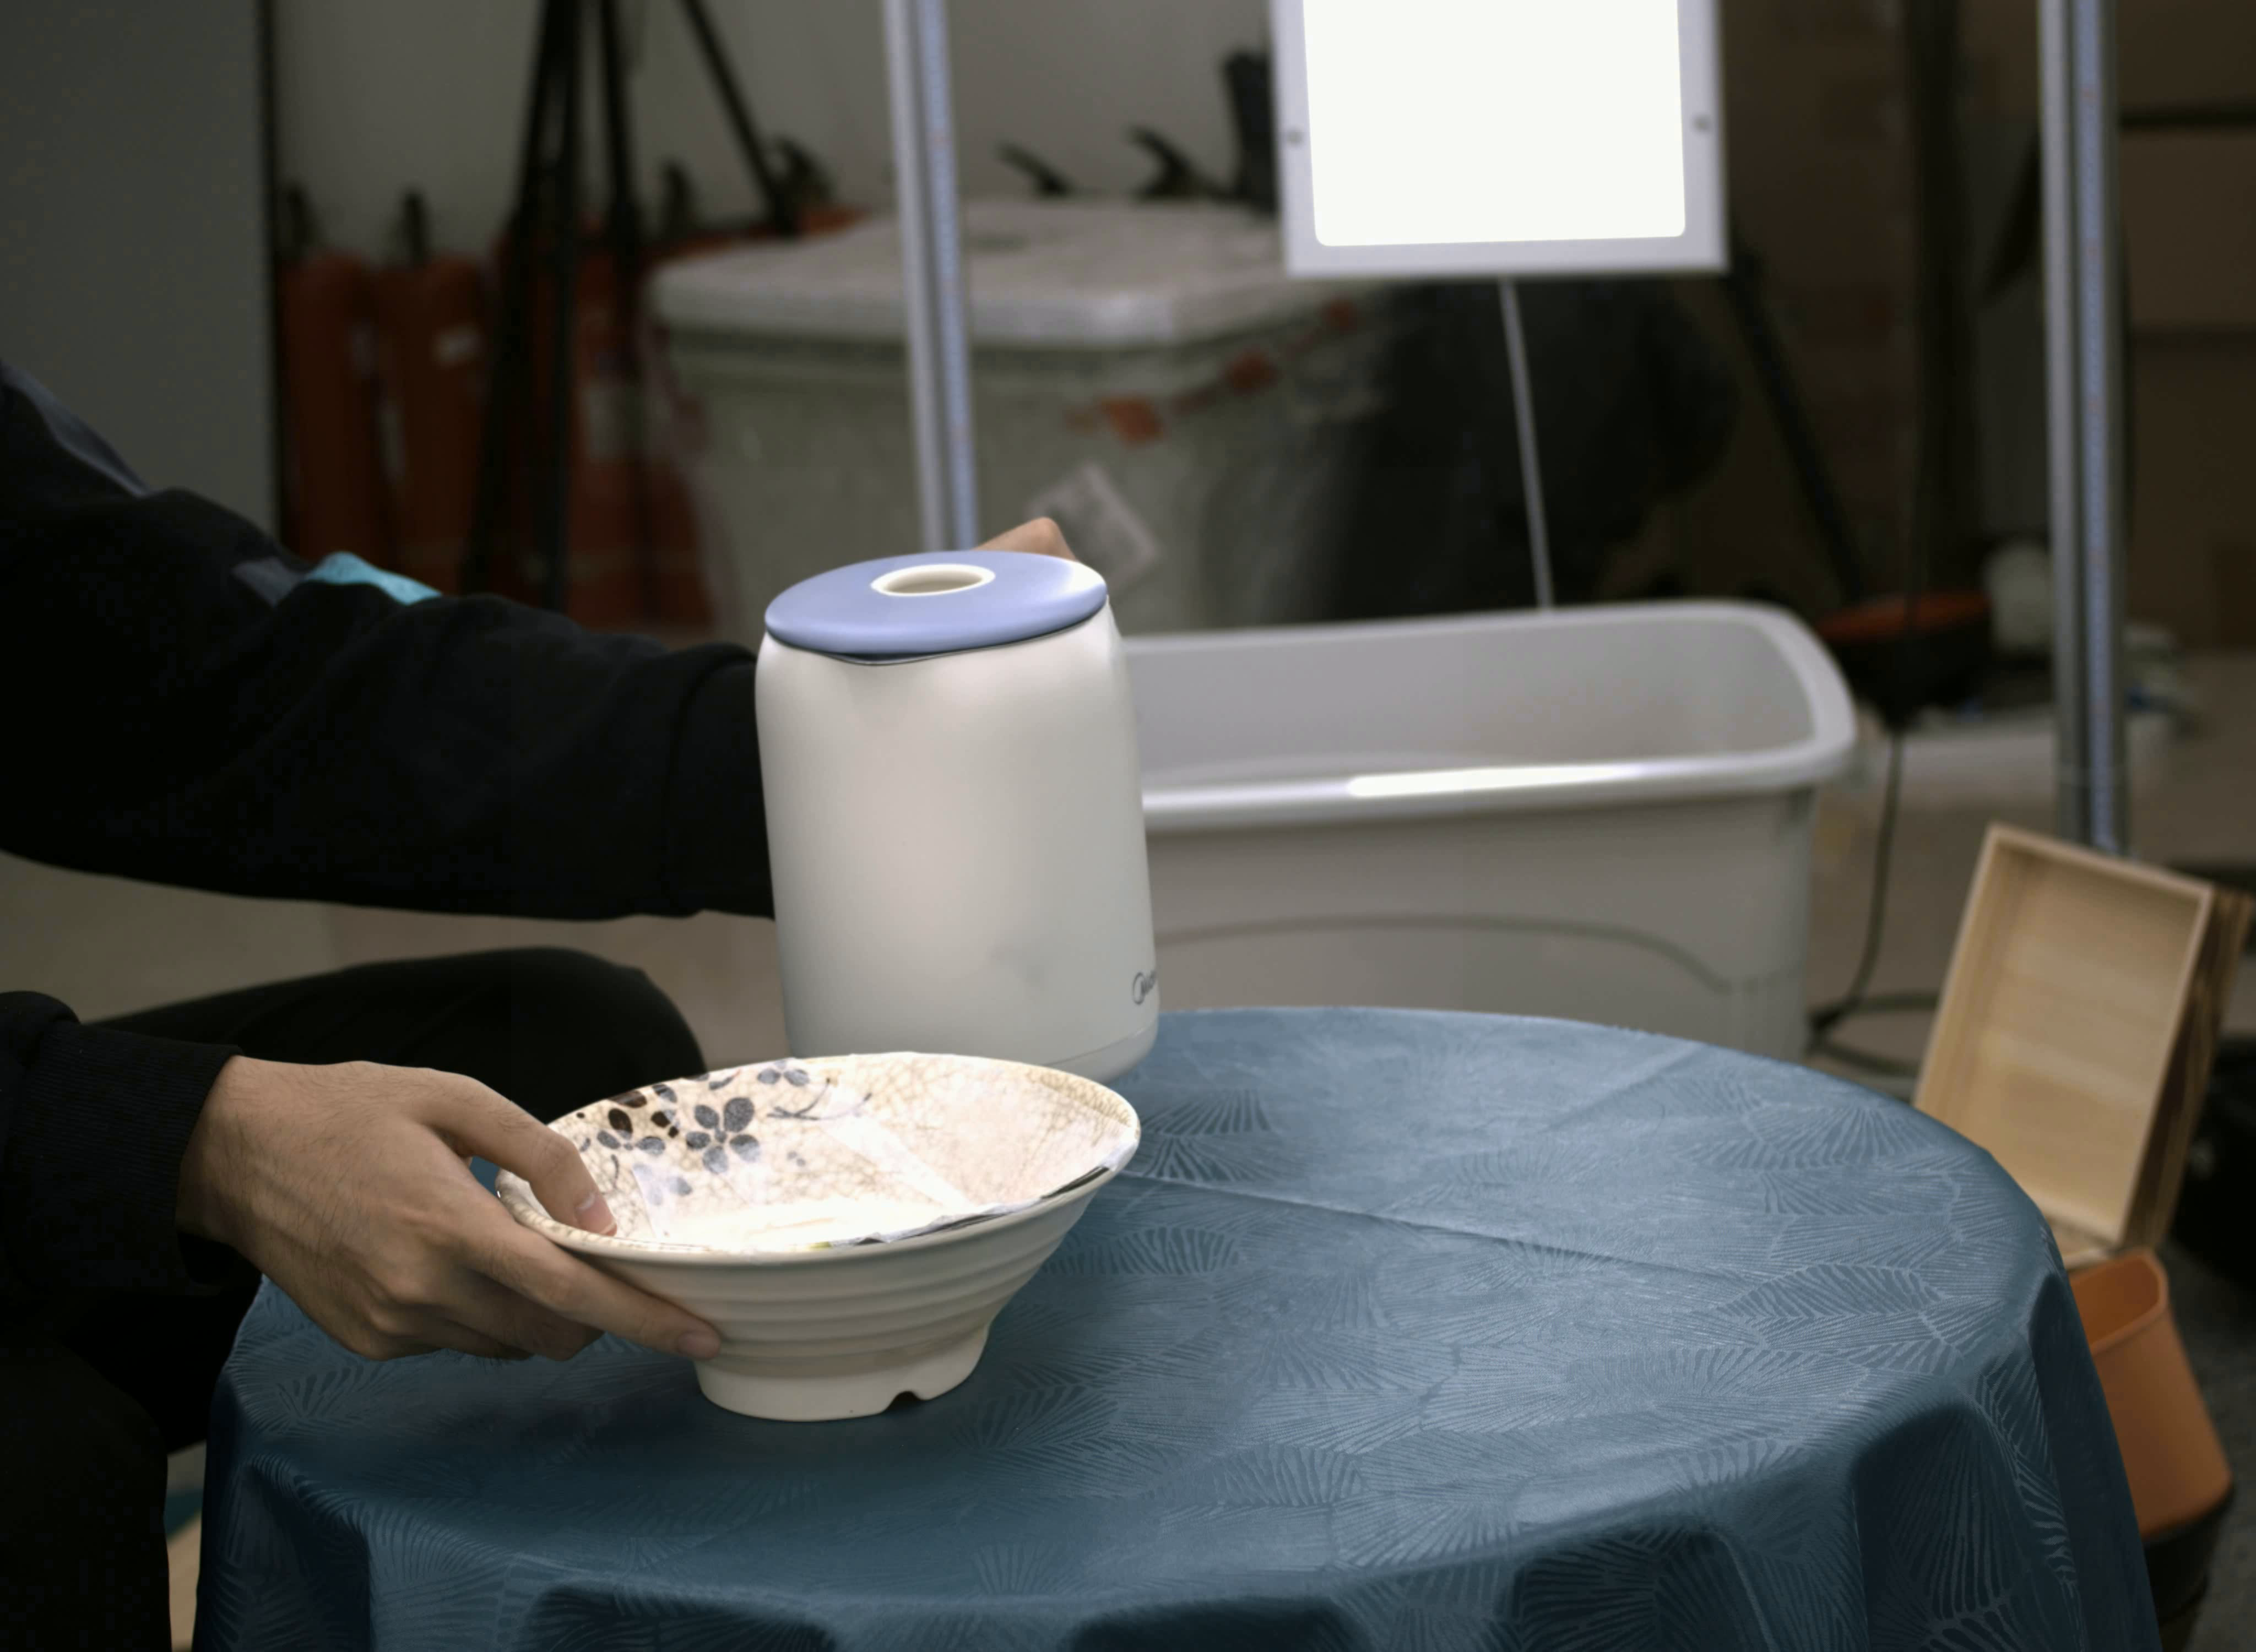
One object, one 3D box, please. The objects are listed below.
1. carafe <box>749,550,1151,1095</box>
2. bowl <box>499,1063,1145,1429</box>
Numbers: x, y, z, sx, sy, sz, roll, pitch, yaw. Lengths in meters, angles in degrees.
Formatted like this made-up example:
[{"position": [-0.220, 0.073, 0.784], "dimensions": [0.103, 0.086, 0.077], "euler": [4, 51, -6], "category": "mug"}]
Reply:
[{"position": [-0.055, -0.004, 1.926], "dimensions": [0.133, 0.183, 0.188], "euler": [1, 14, 15], "category": "carafe"}, {"position": [-0.091, 0.138, 1.727], "dimensions": [0.203, 0.078, 0.204], "euler": [-8, 12, 0], "category": "bowl"}]
